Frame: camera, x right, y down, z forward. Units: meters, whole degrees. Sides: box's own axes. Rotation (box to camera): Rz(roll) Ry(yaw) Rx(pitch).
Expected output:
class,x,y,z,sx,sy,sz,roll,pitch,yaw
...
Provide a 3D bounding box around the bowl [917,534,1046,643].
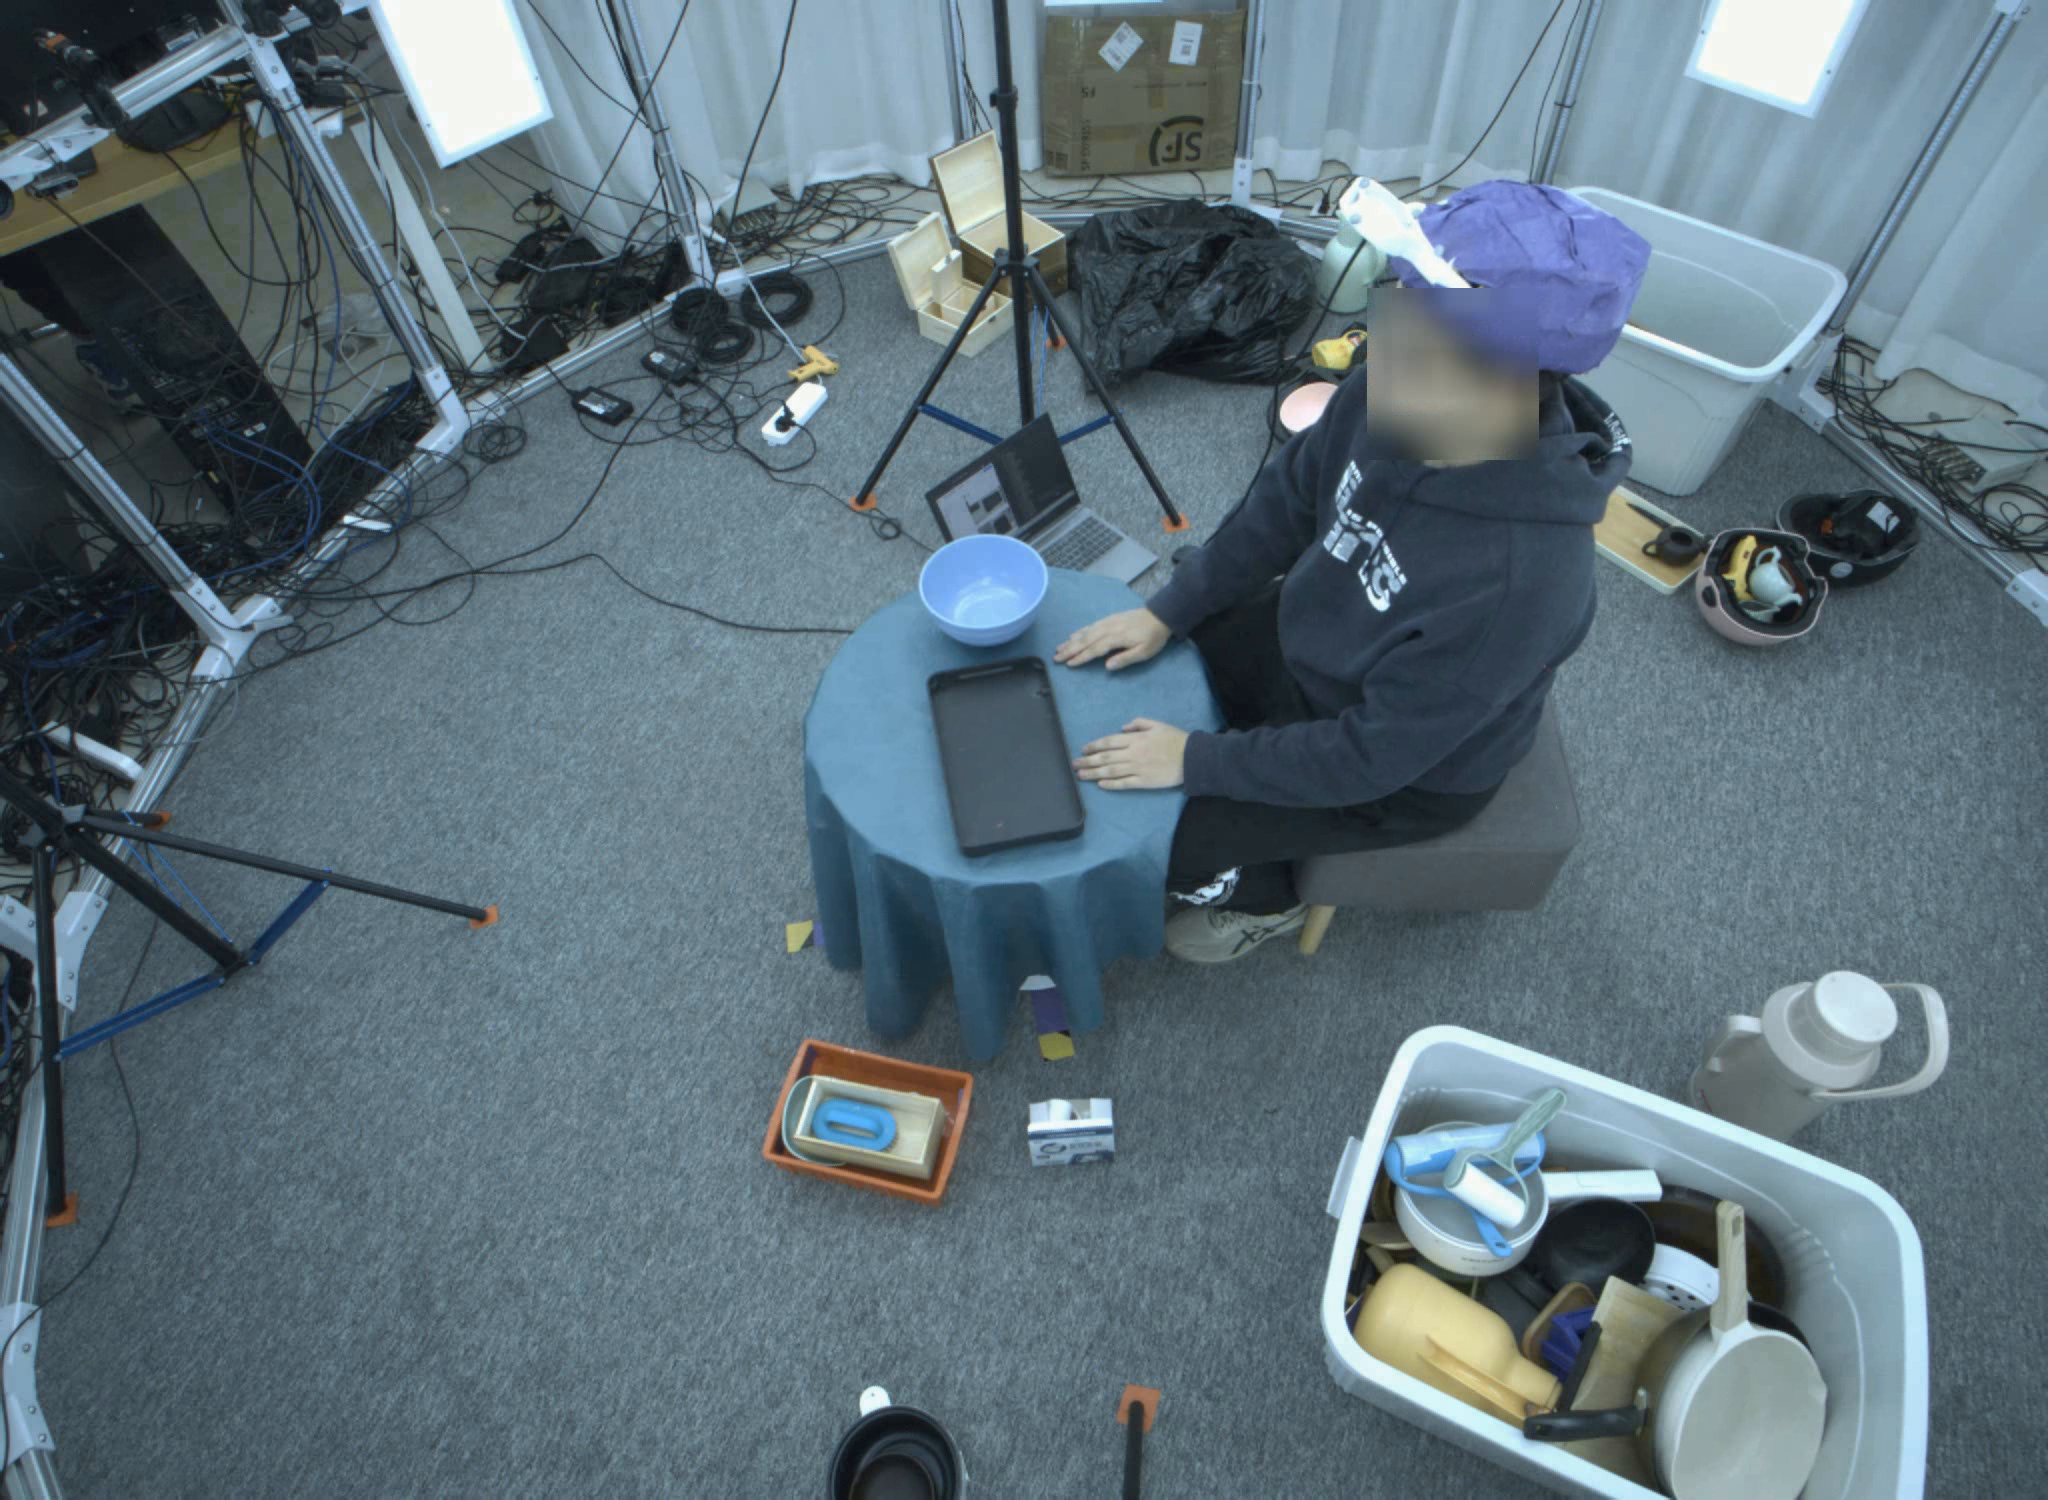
class,x,y,z,sx,sy,sz,roll,pitch,yaw
bowl,-0.062,-0.234,1.893,0.196,0.096,0.194,-1,53,3

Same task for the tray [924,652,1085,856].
class,x,y,z,sx,sy,sz,roll,pitch,yaw
tray,-0.032,0.000,1.765,0.185,0.037,0.313,-10,55,-6
